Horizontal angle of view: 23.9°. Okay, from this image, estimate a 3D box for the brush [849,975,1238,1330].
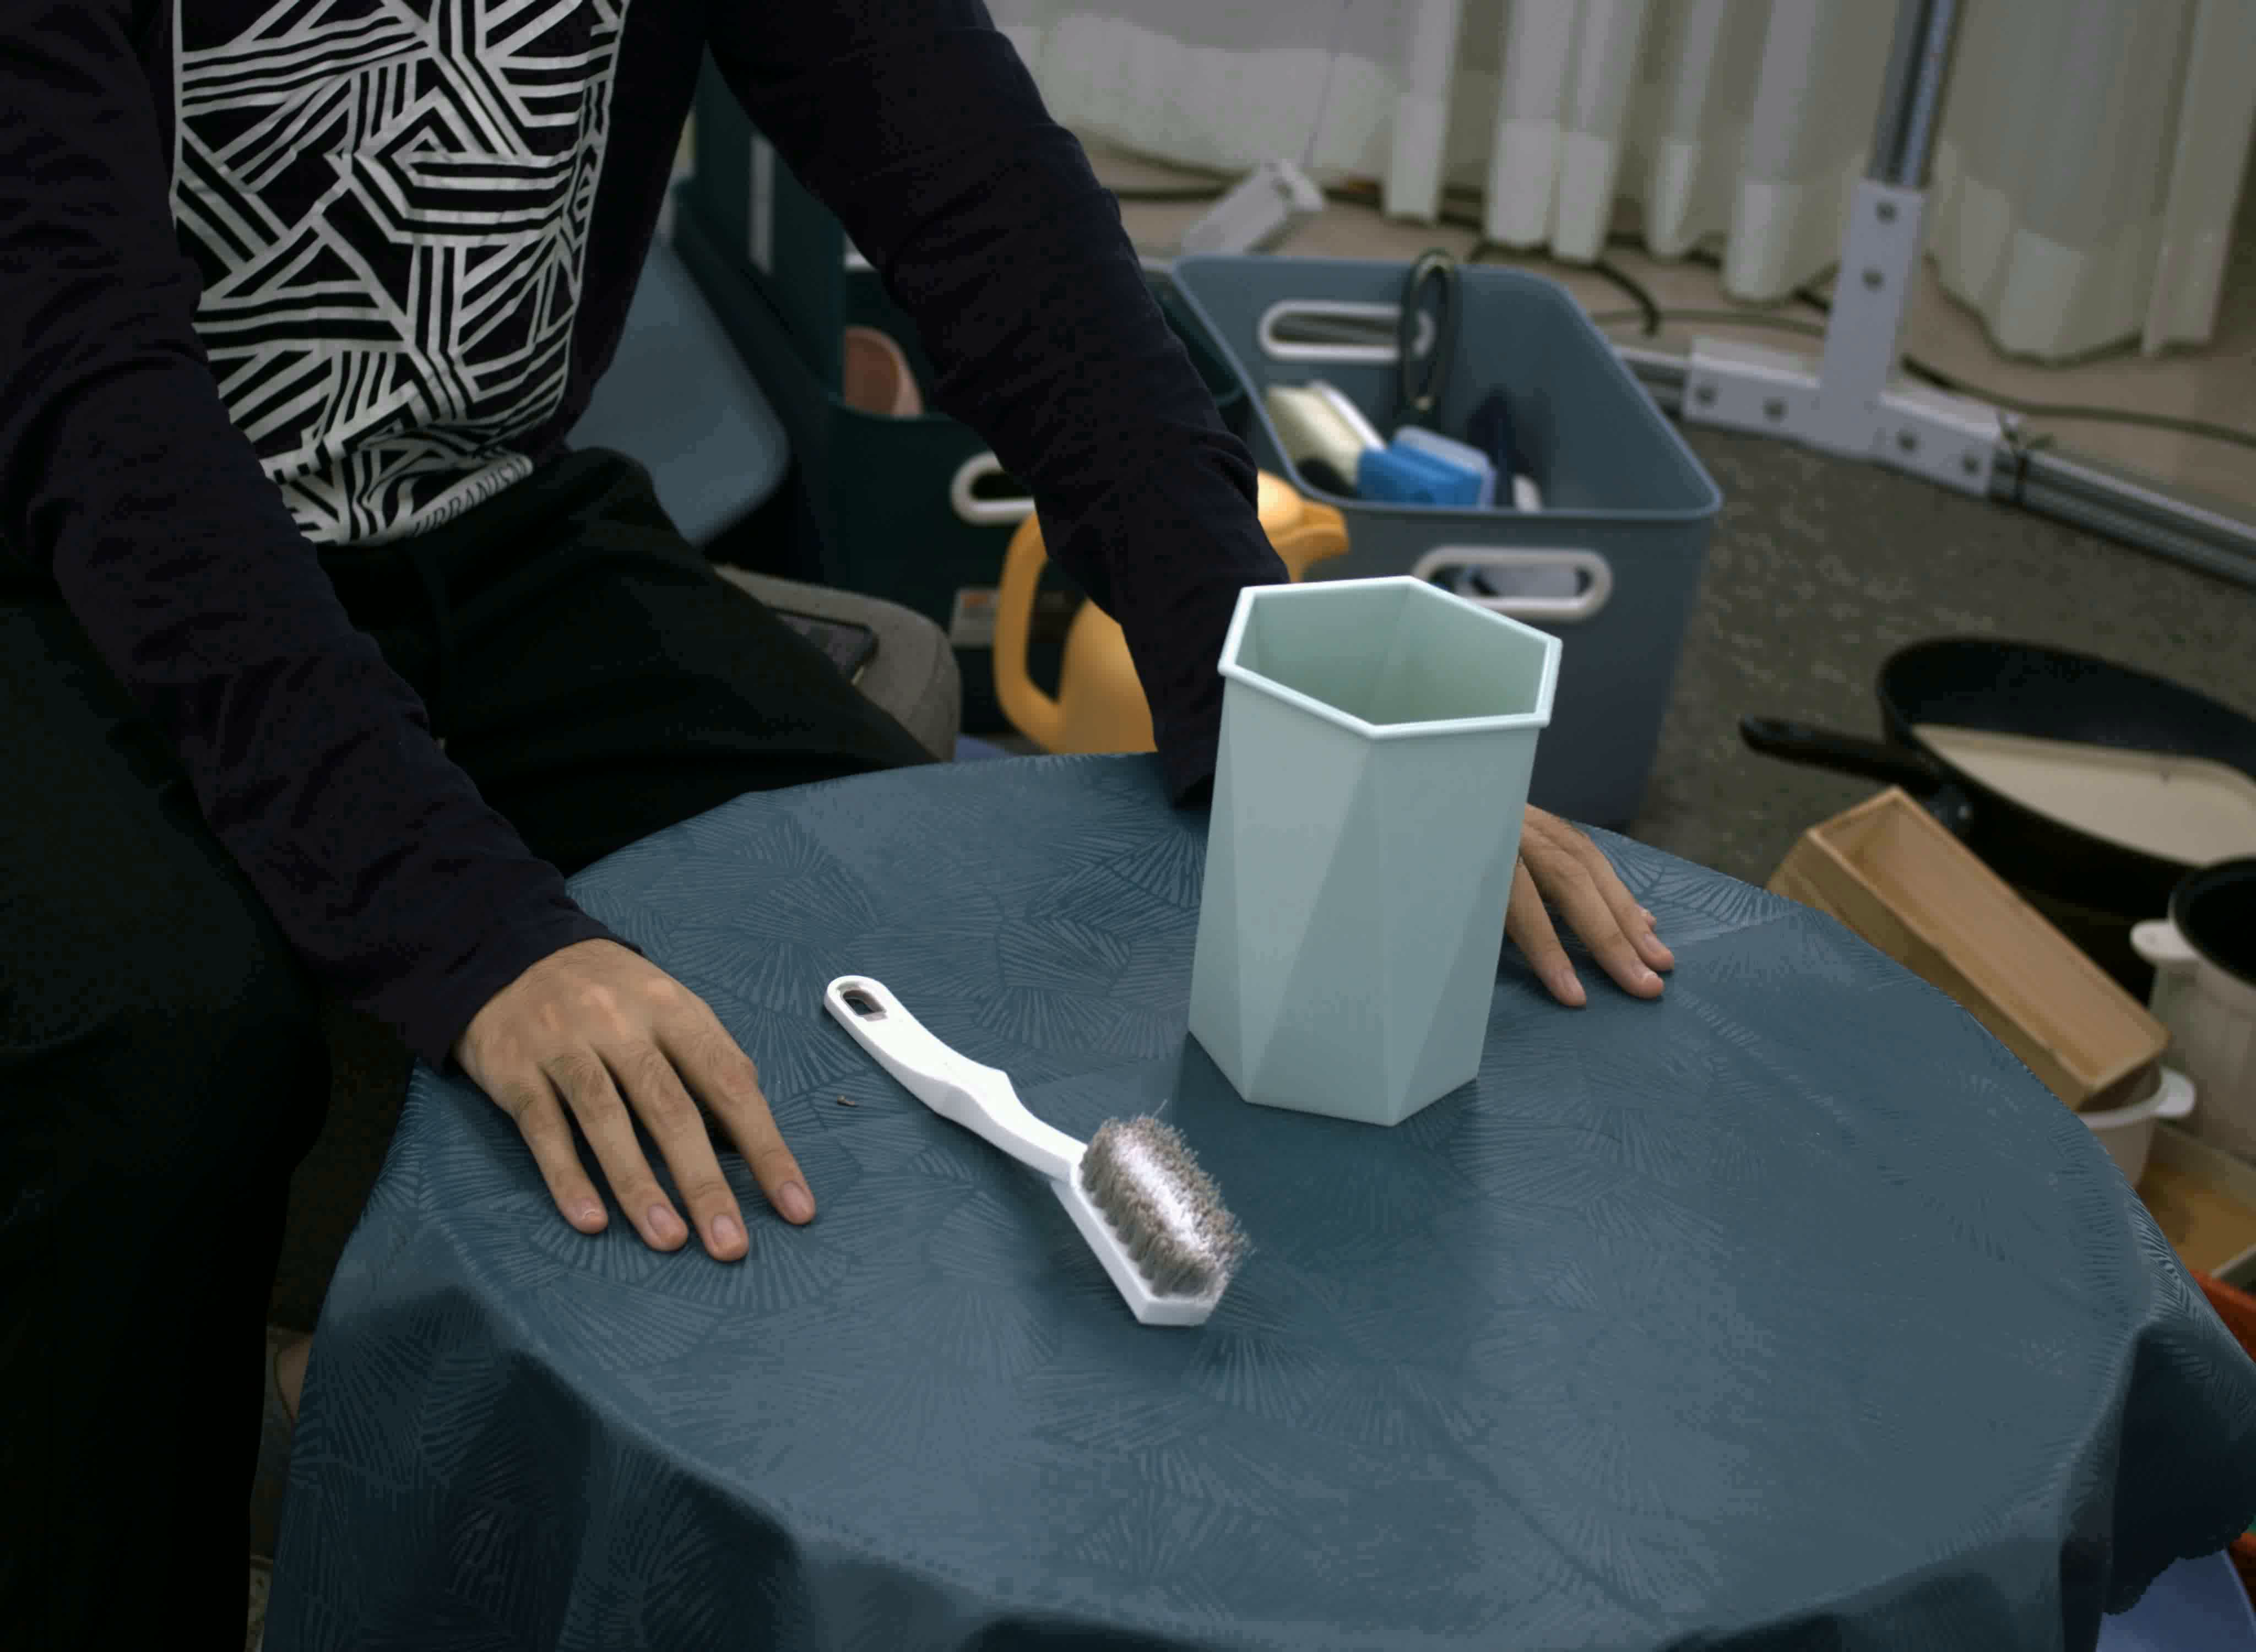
[{"bbox_3d":[-0.034,0.093,1.807,0.034,0.050,0.246,-12,32,-26],"label":"brush"}]

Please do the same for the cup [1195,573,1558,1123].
[{"bbox_3d":[0.084,0.009,1.870,0.115,0.162,0.131,7,26,4],"label":"cup"}]
